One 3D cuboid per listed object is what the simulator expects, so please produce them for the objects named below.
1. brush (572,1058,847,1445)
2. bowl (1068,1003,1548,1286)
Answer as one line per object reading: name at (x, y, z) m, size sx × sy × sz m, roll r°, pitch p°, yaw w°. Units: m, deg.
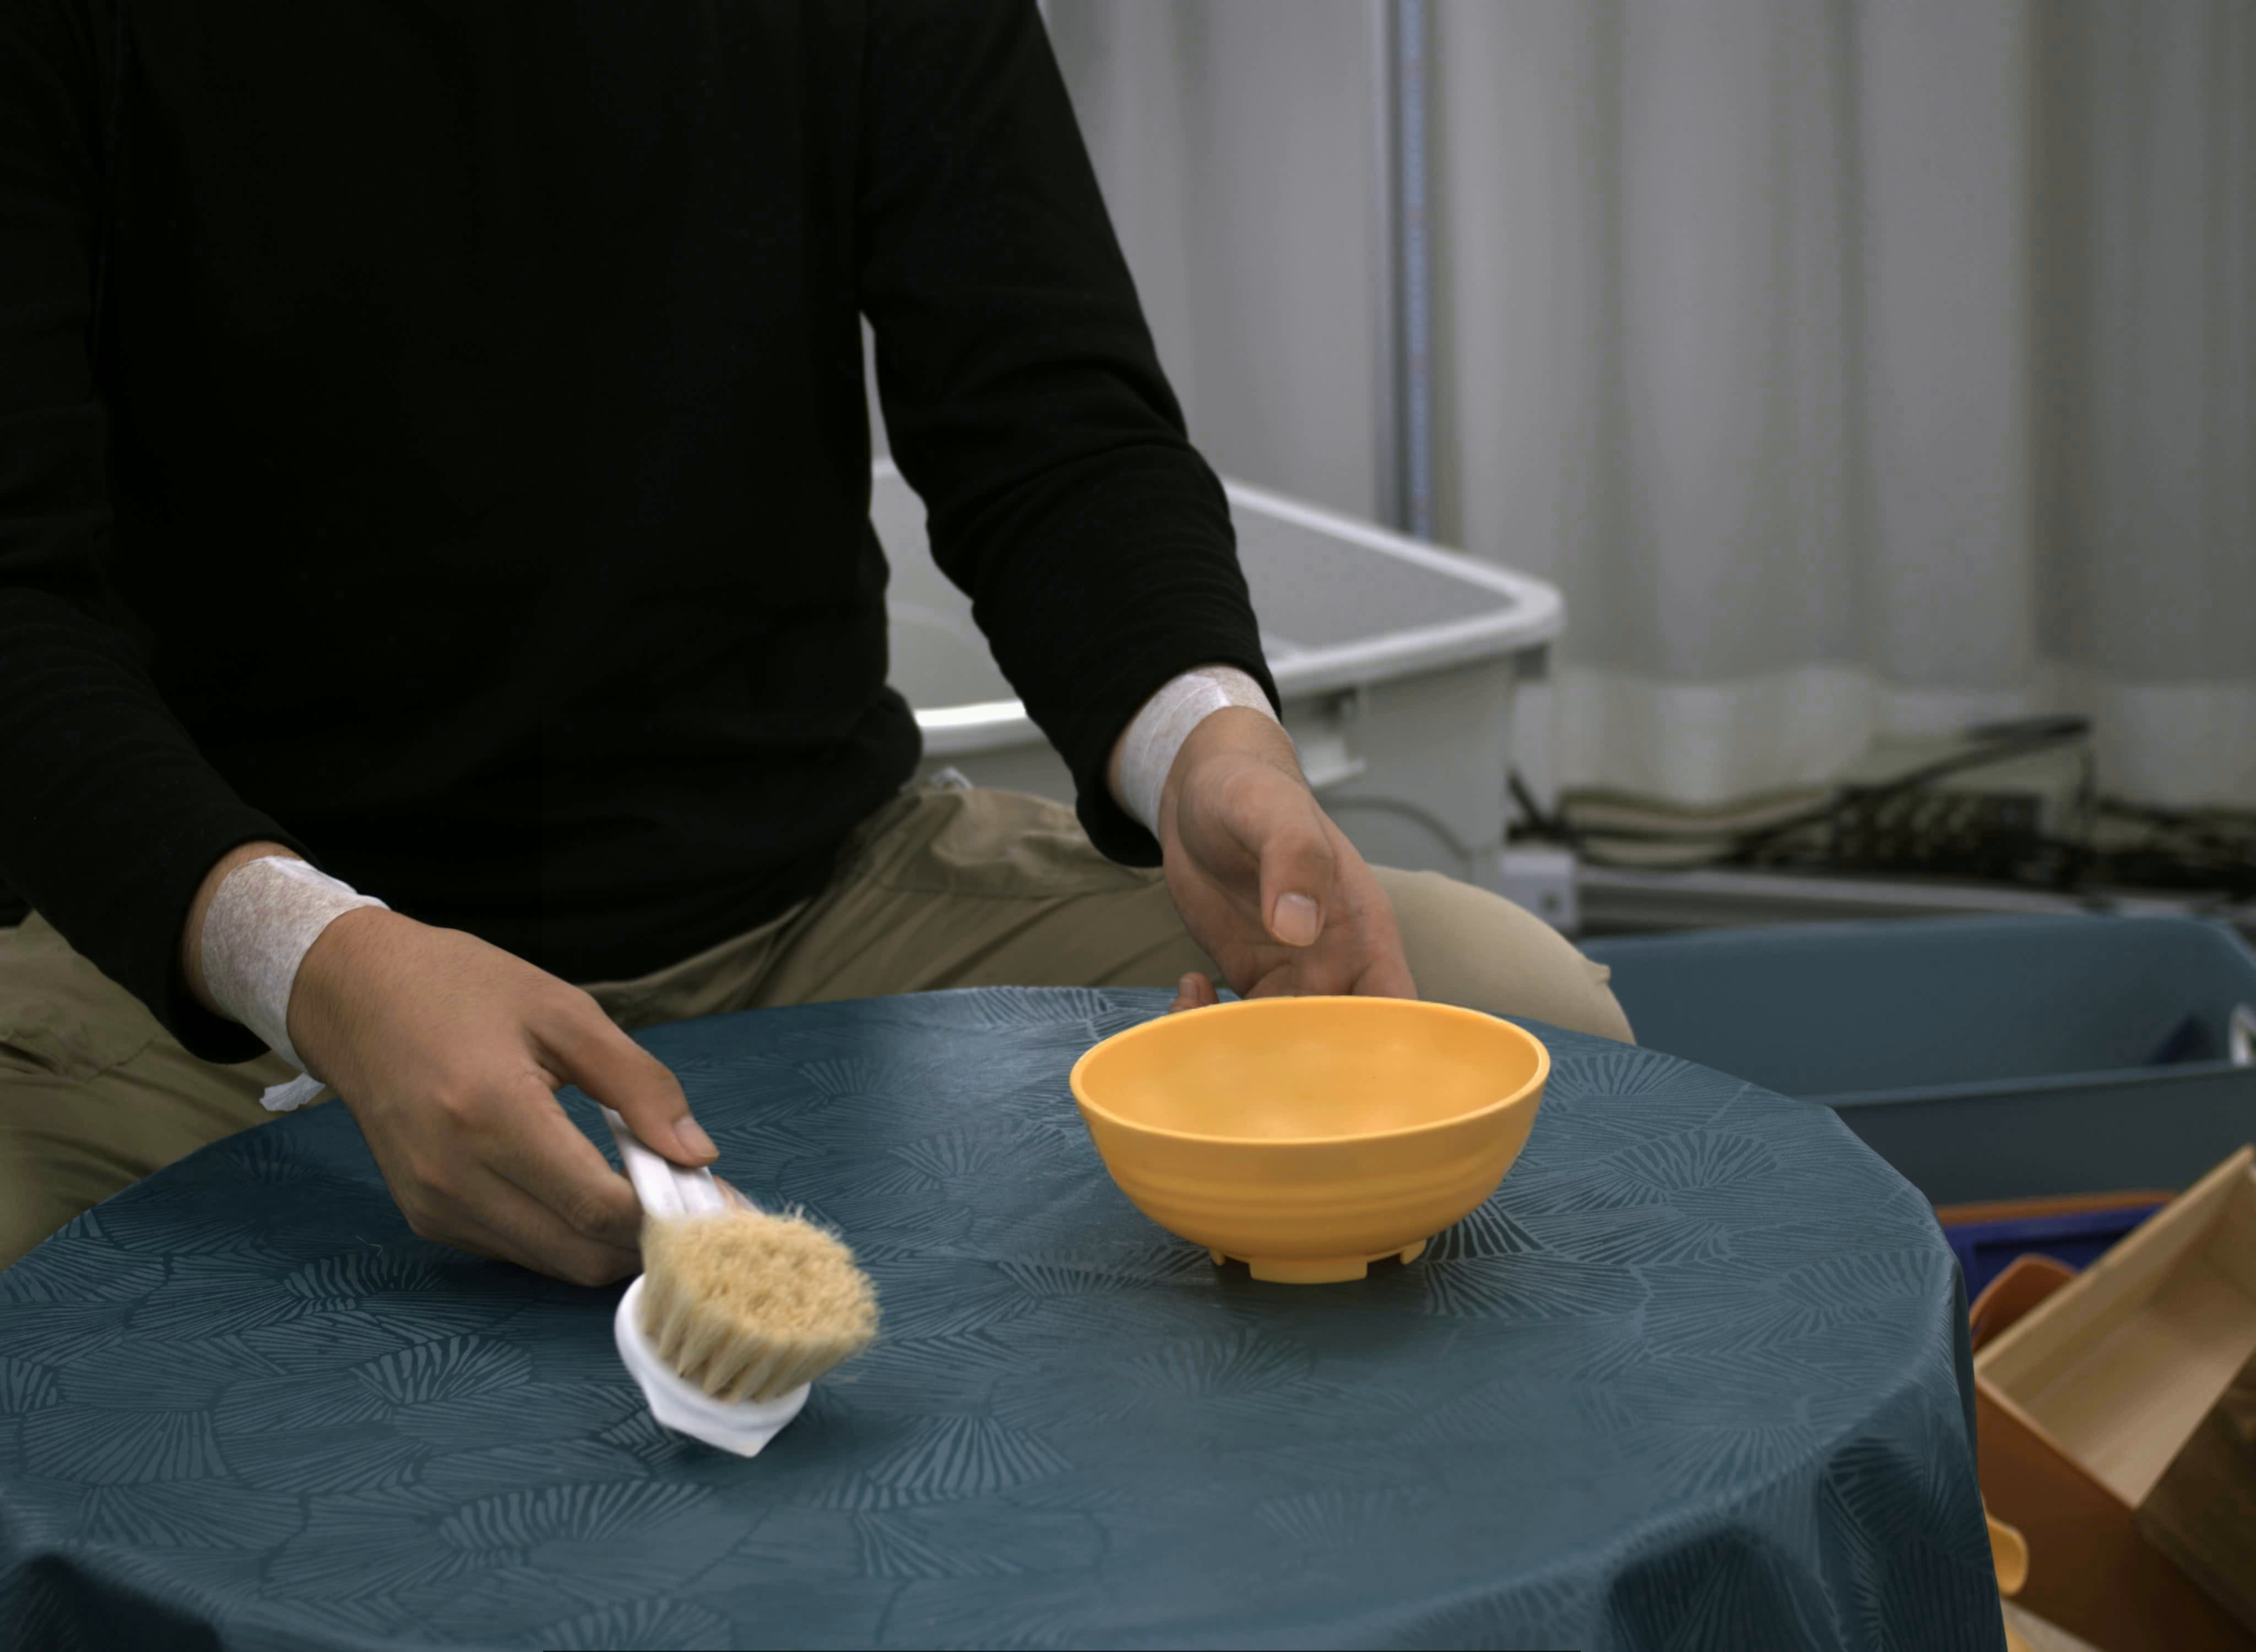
brush at (-0.132, 0.102, 1.614) m, size 0.068 × 0.056 × 0.269 m, roll 27°, pitch 12°, yaw -17°
bowl at (0.054, 0.100, 1.646) m, size 0.145 × 0.060 × 0.146 m, roll -2°, pitch 14°, yaw 0°
